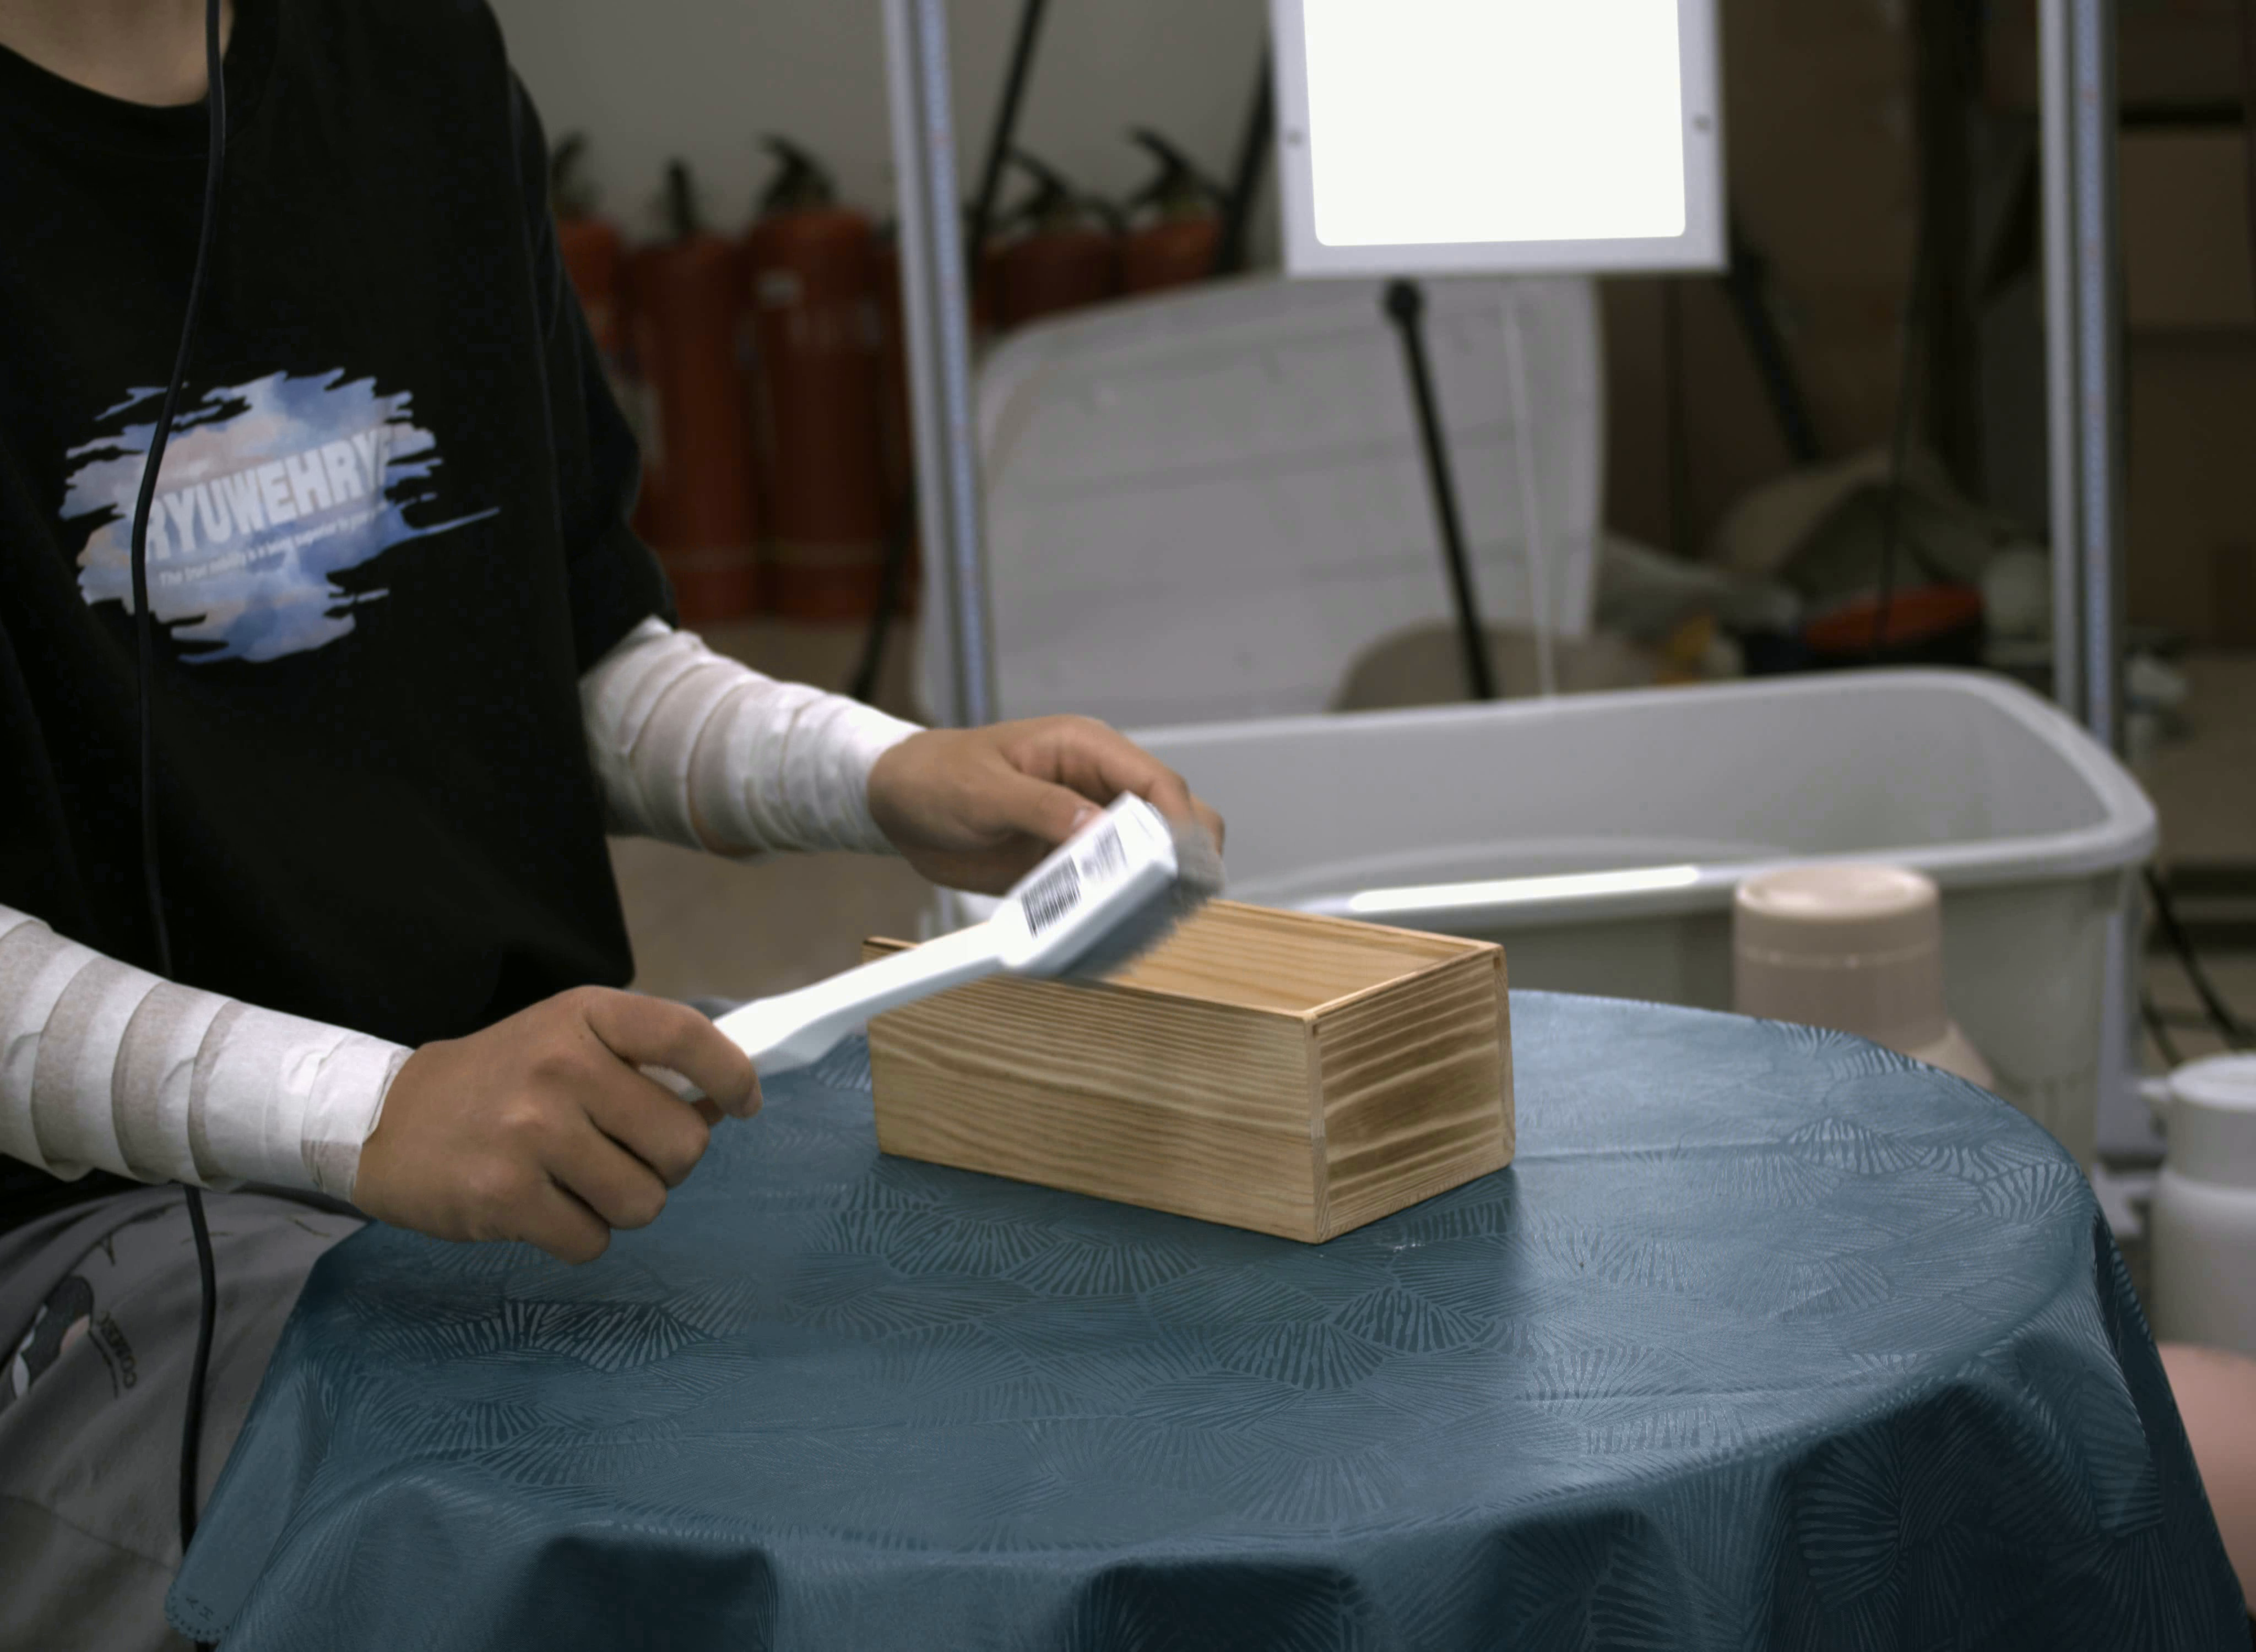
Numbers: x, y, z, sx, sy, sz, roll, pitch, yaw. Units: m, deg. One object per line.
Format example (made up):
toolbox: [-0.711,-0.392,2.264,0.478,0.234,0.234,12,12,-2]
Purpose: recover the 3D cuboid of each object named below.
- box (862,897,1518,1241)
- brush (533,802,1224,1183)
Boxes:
box: [0.021,0.079,1.920,0.216,0.080,0.105,7,18,44]
brush: [-0.080,0.065,1.802,0.245,0.050,0.034,-28,45,9]
